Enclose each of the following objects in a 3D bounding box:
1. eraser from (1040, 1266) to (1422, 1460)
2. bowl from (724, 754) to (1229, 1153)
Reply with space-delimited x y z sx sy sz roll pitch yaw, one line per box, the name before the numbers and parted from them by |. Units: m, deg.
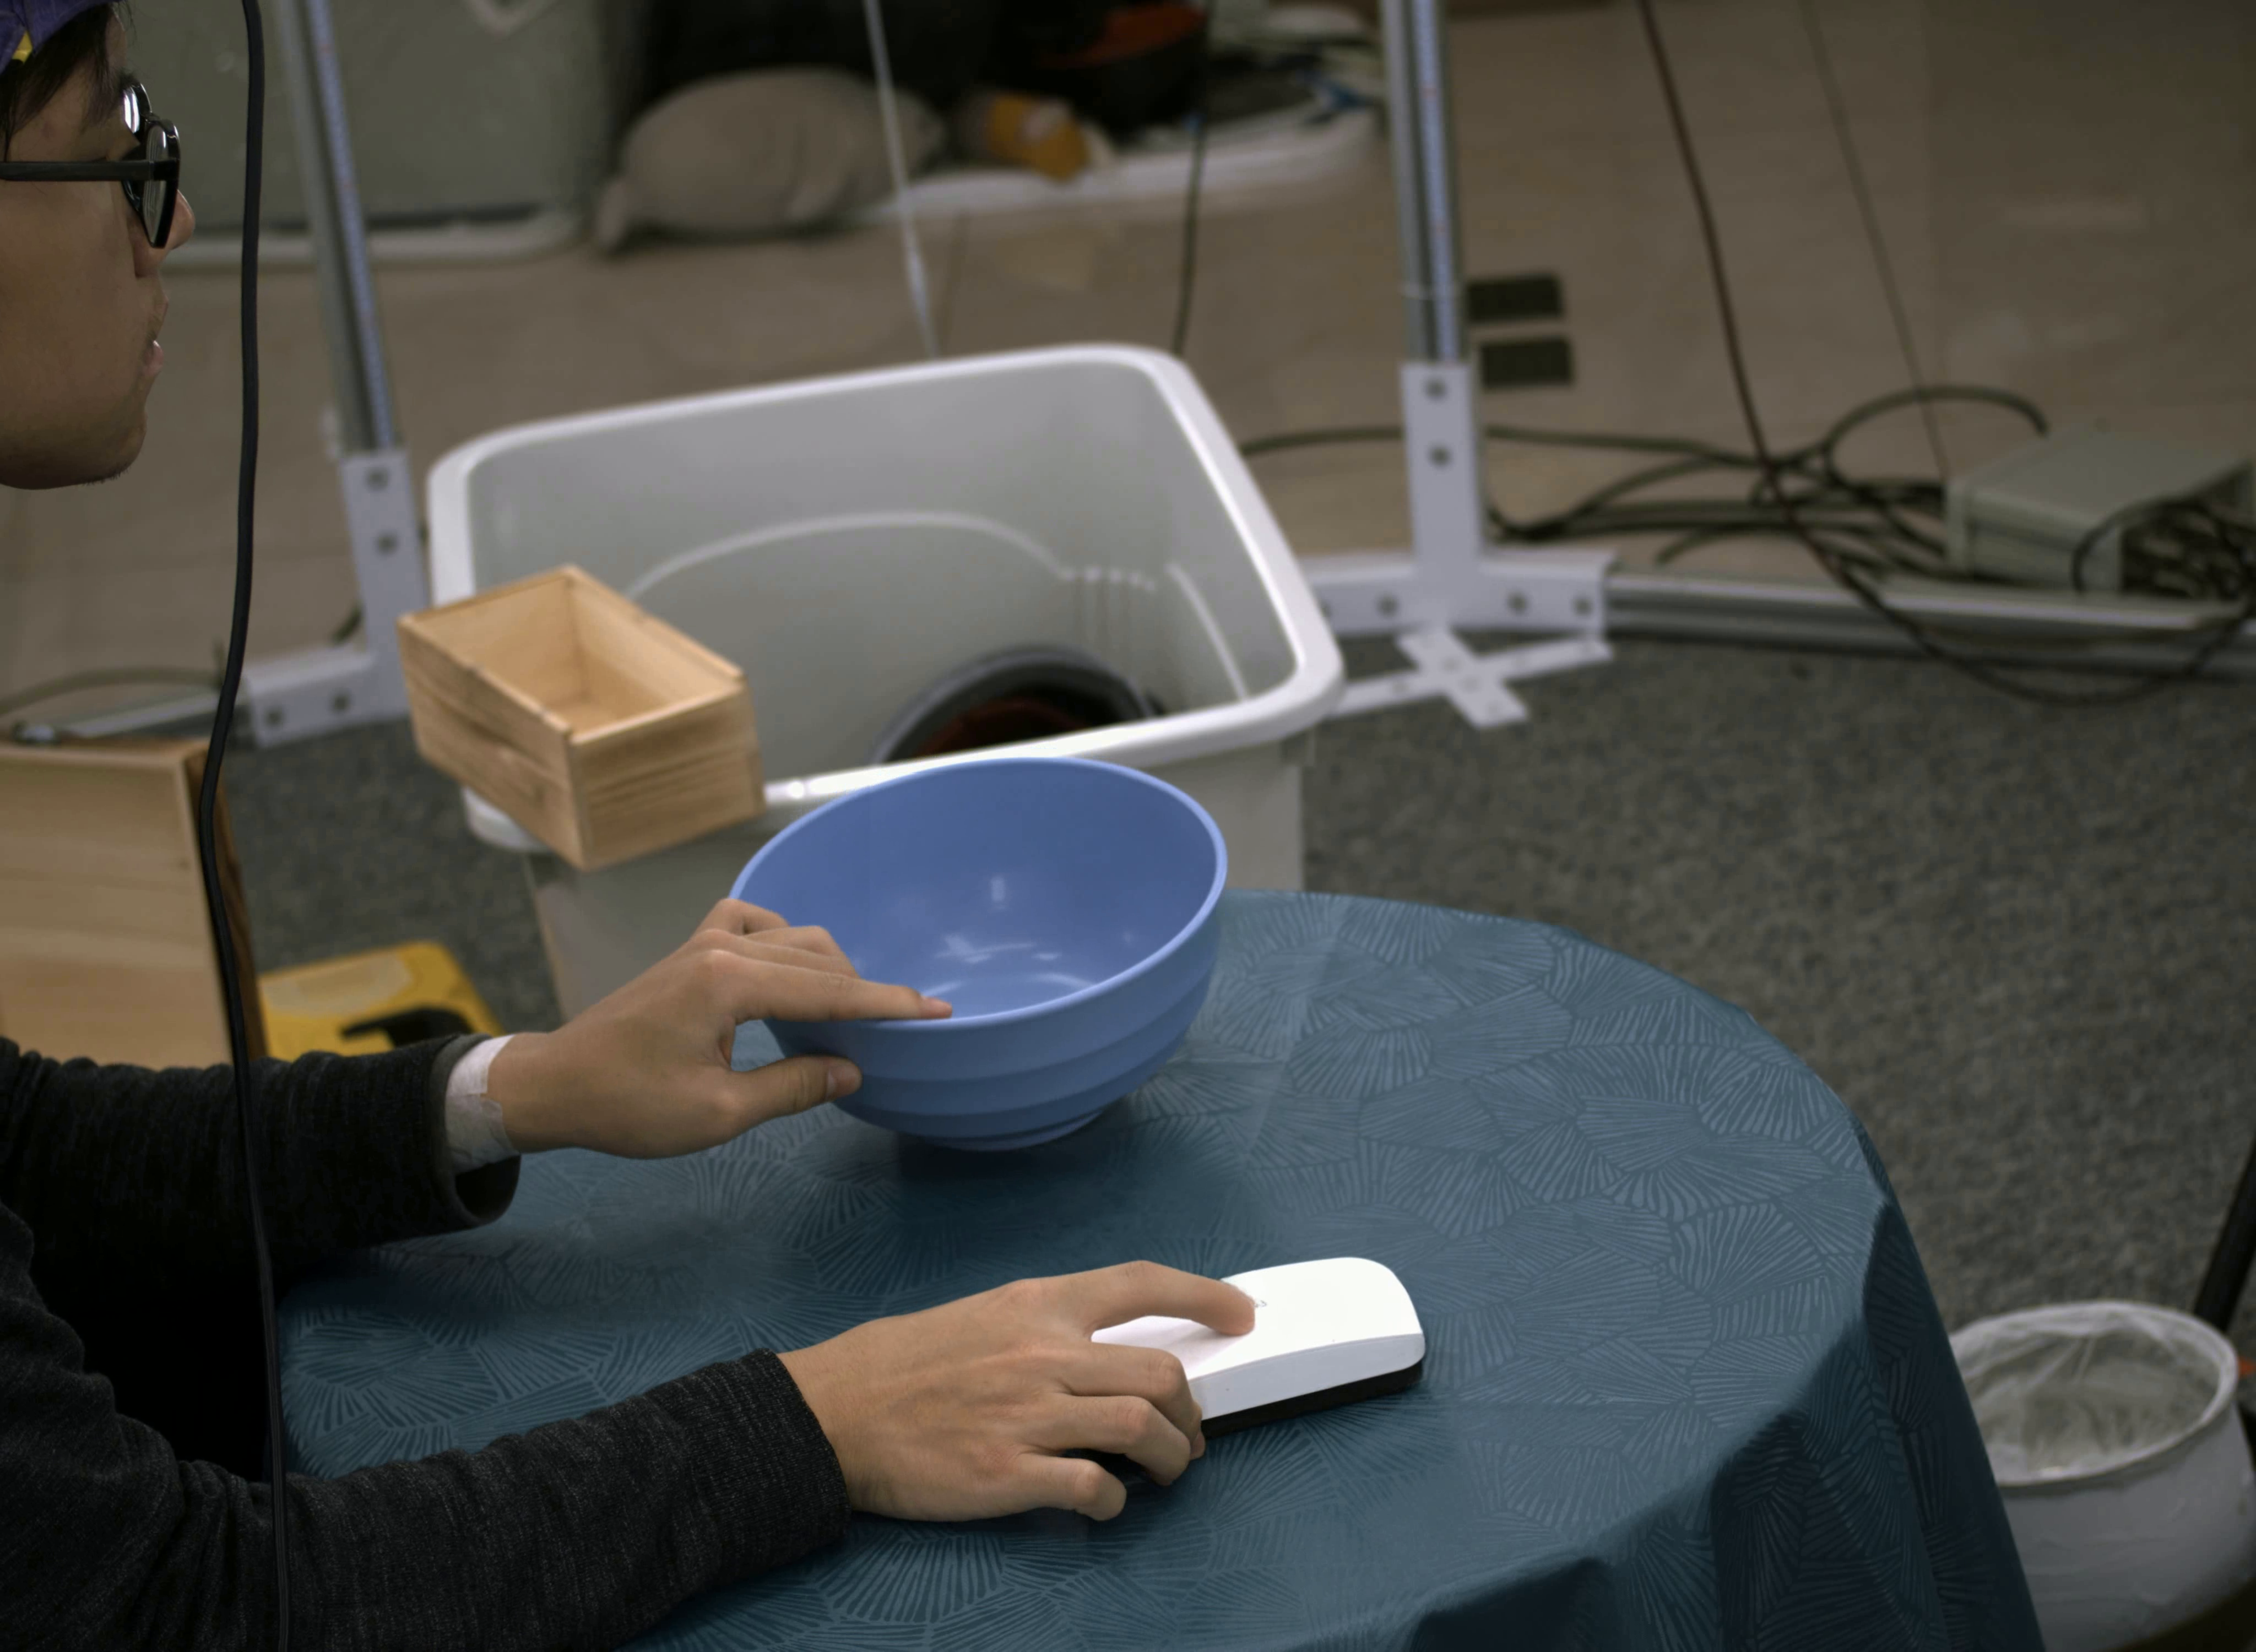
eraser | 0.036 0.186 2.001 0.131 0.035 0.062 -12 25 -13
bowl | -0.053 0.063 2.200 0.196 0.097 0.193 -6 32 4
